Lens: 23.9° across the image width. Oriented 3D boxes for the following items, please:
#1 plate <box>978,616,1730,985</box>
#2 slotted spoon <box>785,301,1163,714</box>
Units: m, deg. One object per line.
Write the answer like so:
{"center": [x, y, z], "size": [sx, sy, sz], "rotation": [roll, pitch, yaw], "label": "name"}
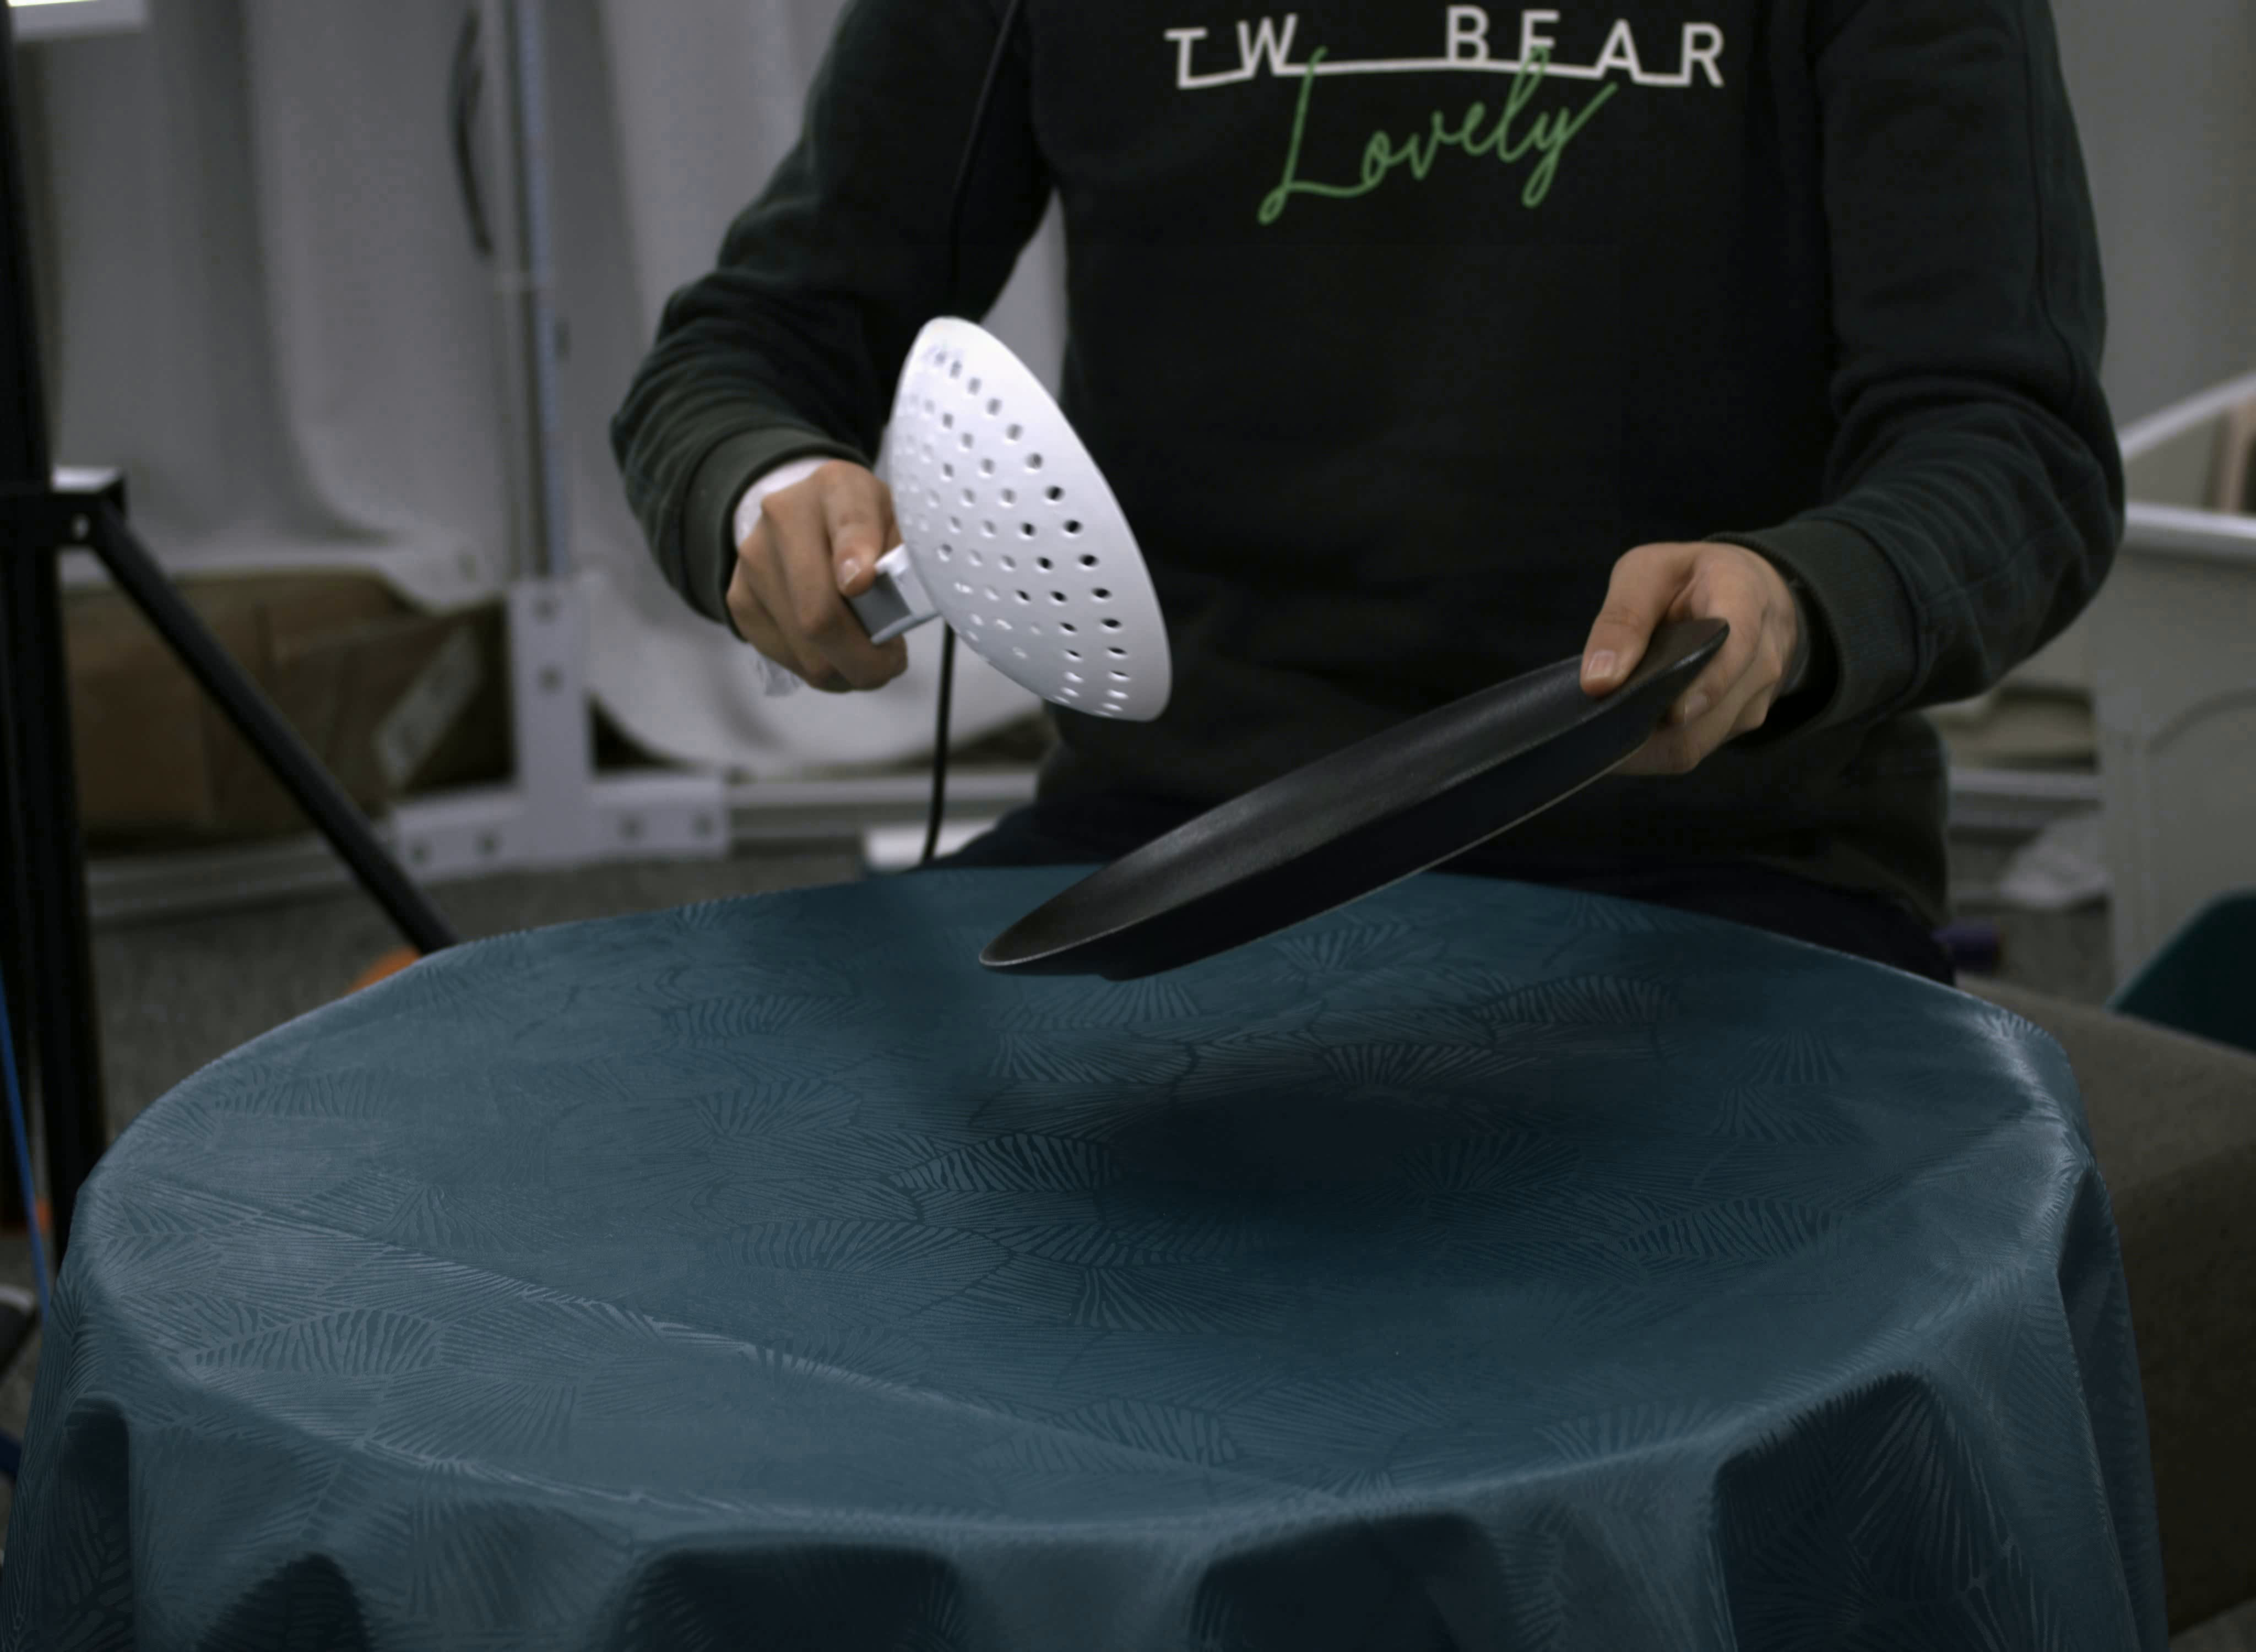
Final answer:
{"center": [0.070, -0.001, 1.571], "size": [0.243, 0.023, 0.245], "rotation": [-25, 5, 0], "label": "plate"}
{"center": [-0.062, -0.081, 1.695], "size": [0.045, 0.136, 0.352], "rotation": [-27, 2, -12], "label": "slotted spoon"}
